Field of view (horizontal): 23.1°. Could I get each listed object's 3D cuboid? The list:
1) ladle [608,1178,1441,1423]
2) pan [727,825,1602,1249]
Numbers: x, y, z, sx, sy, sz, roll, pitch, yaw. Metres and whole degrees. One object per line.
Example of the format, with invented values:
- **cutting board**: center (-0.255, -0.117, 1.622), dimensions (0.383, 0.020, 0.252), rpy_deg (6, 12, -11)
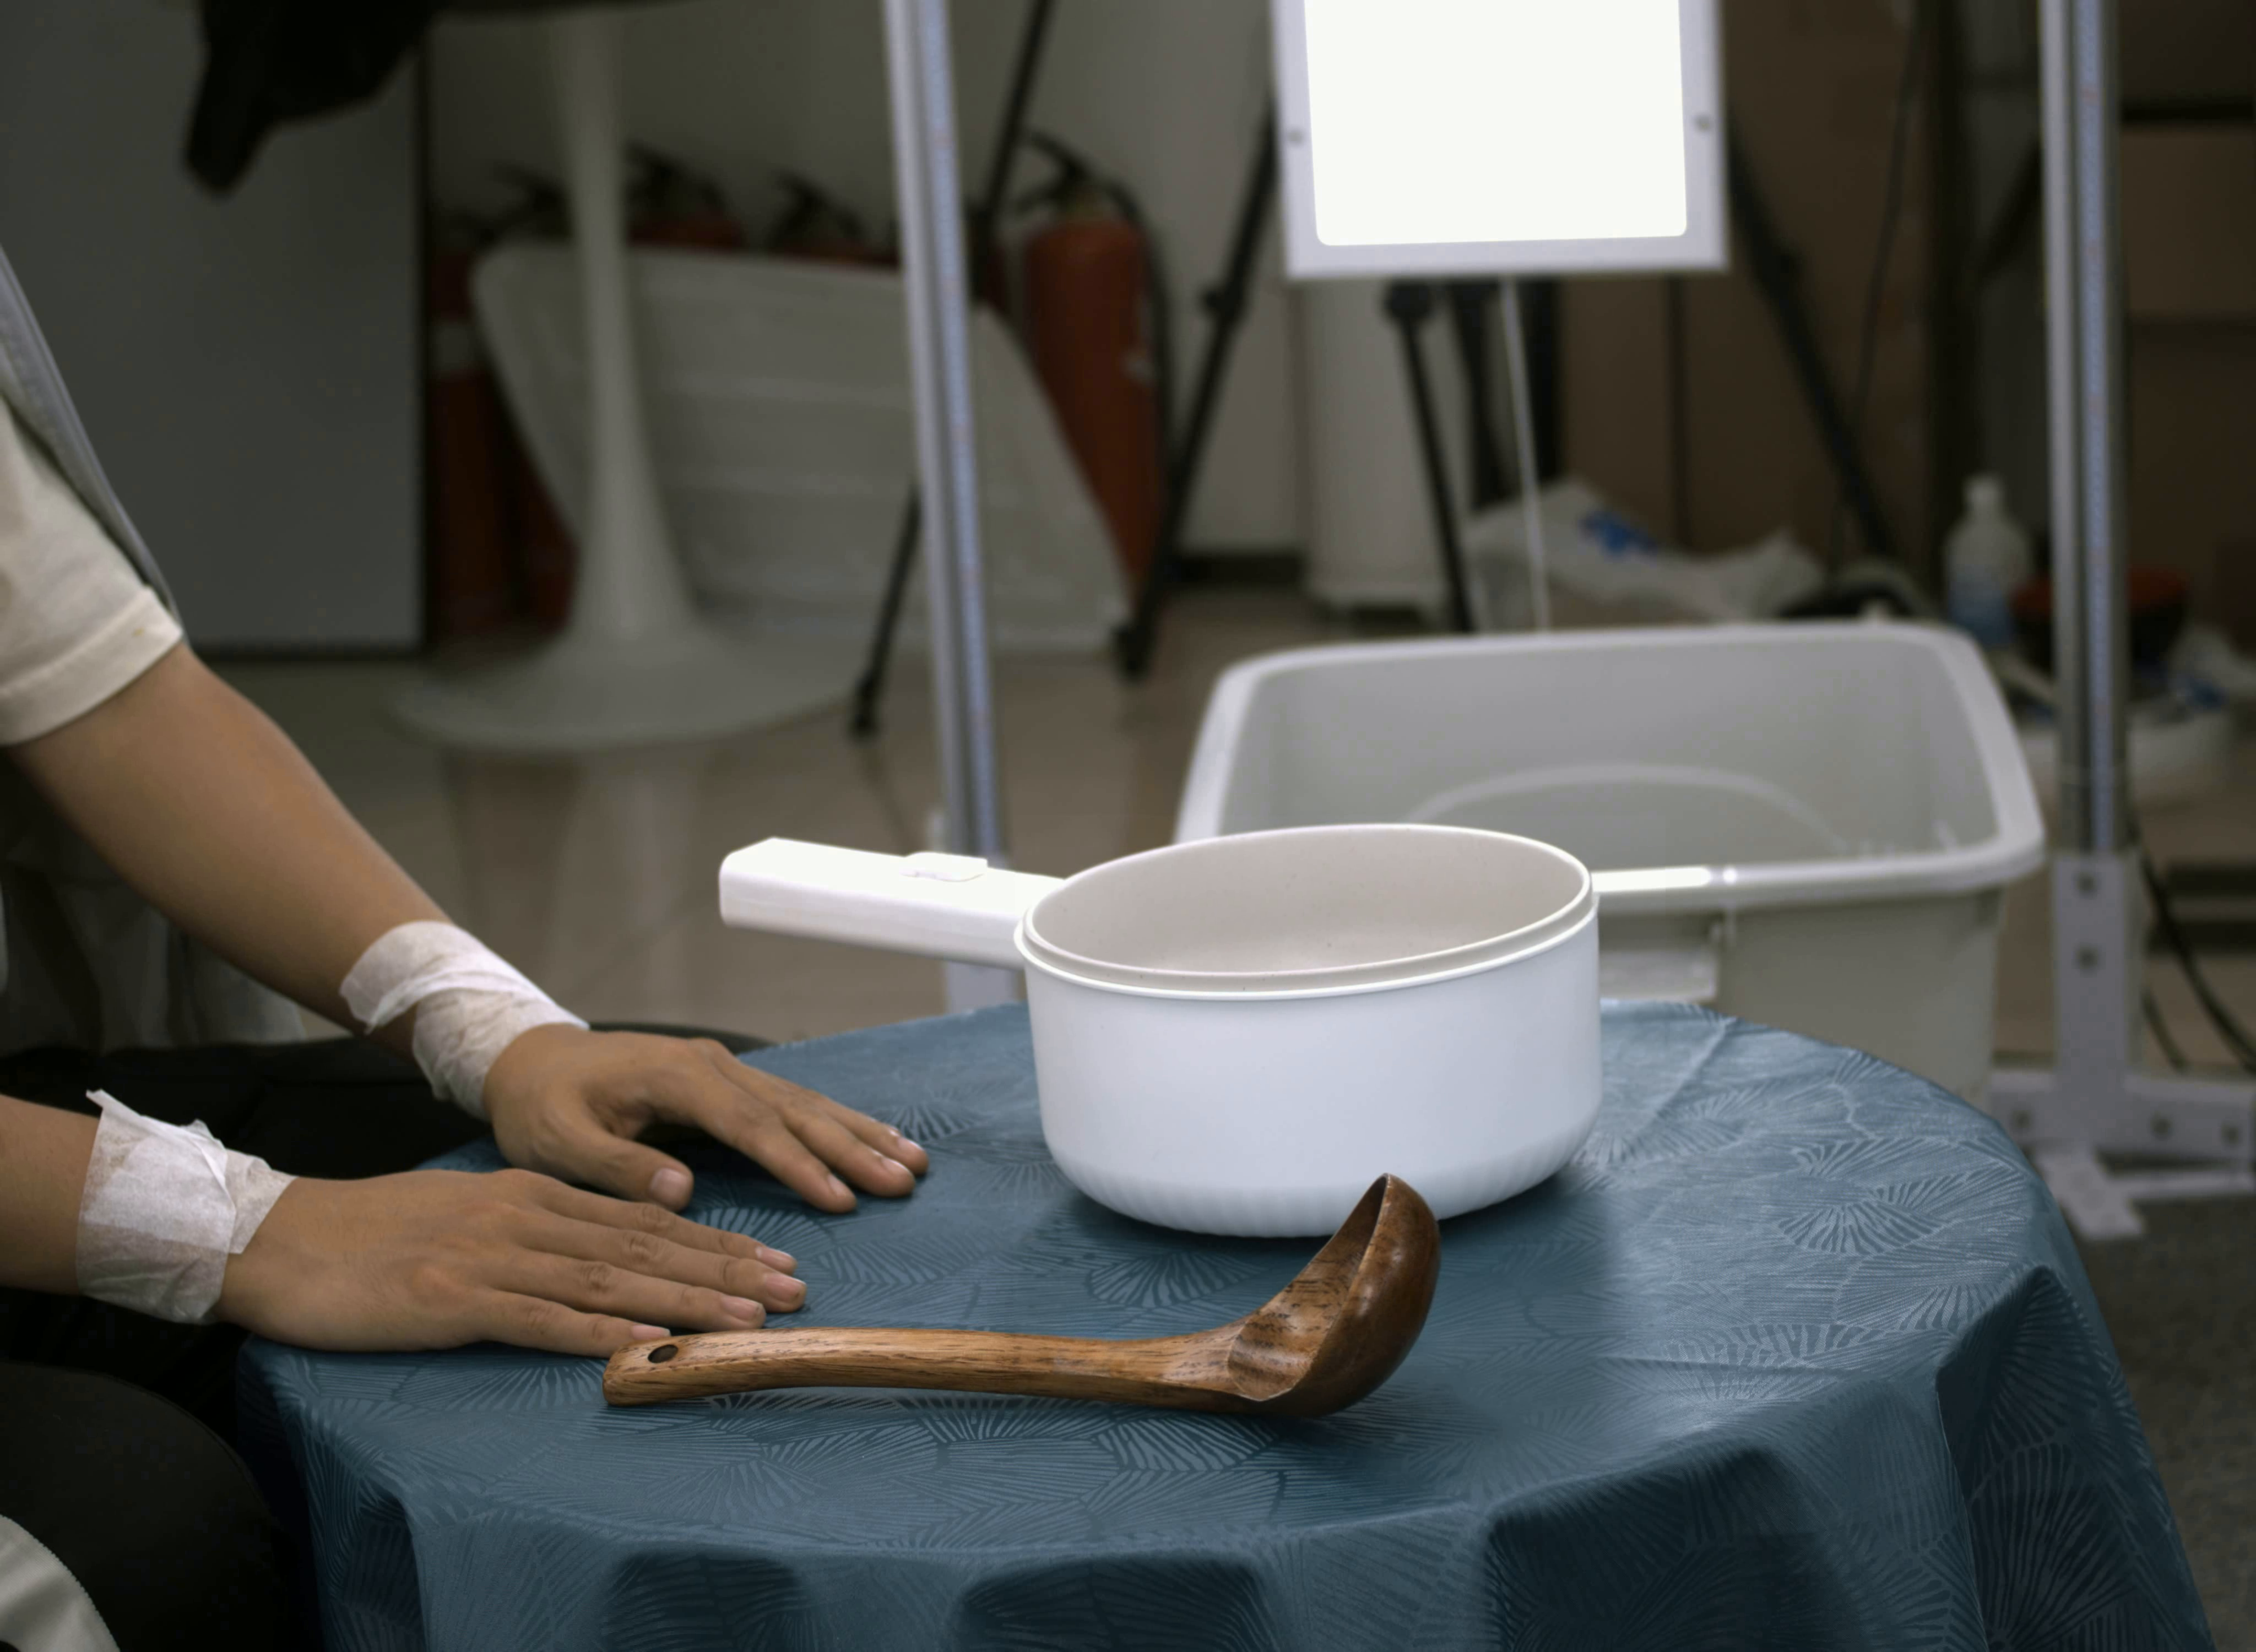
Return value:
- **ladle**: center (-0.037, 0.142, 1.681), dimensions (0.277, 0.077, 0.080), rpy_deg (2, 27, 20)
- **pan**: center (0.004, 0.068, 1.932), dimensions (0.362, 0.102, 0.196), rpy_deg (5, 18, 39)
